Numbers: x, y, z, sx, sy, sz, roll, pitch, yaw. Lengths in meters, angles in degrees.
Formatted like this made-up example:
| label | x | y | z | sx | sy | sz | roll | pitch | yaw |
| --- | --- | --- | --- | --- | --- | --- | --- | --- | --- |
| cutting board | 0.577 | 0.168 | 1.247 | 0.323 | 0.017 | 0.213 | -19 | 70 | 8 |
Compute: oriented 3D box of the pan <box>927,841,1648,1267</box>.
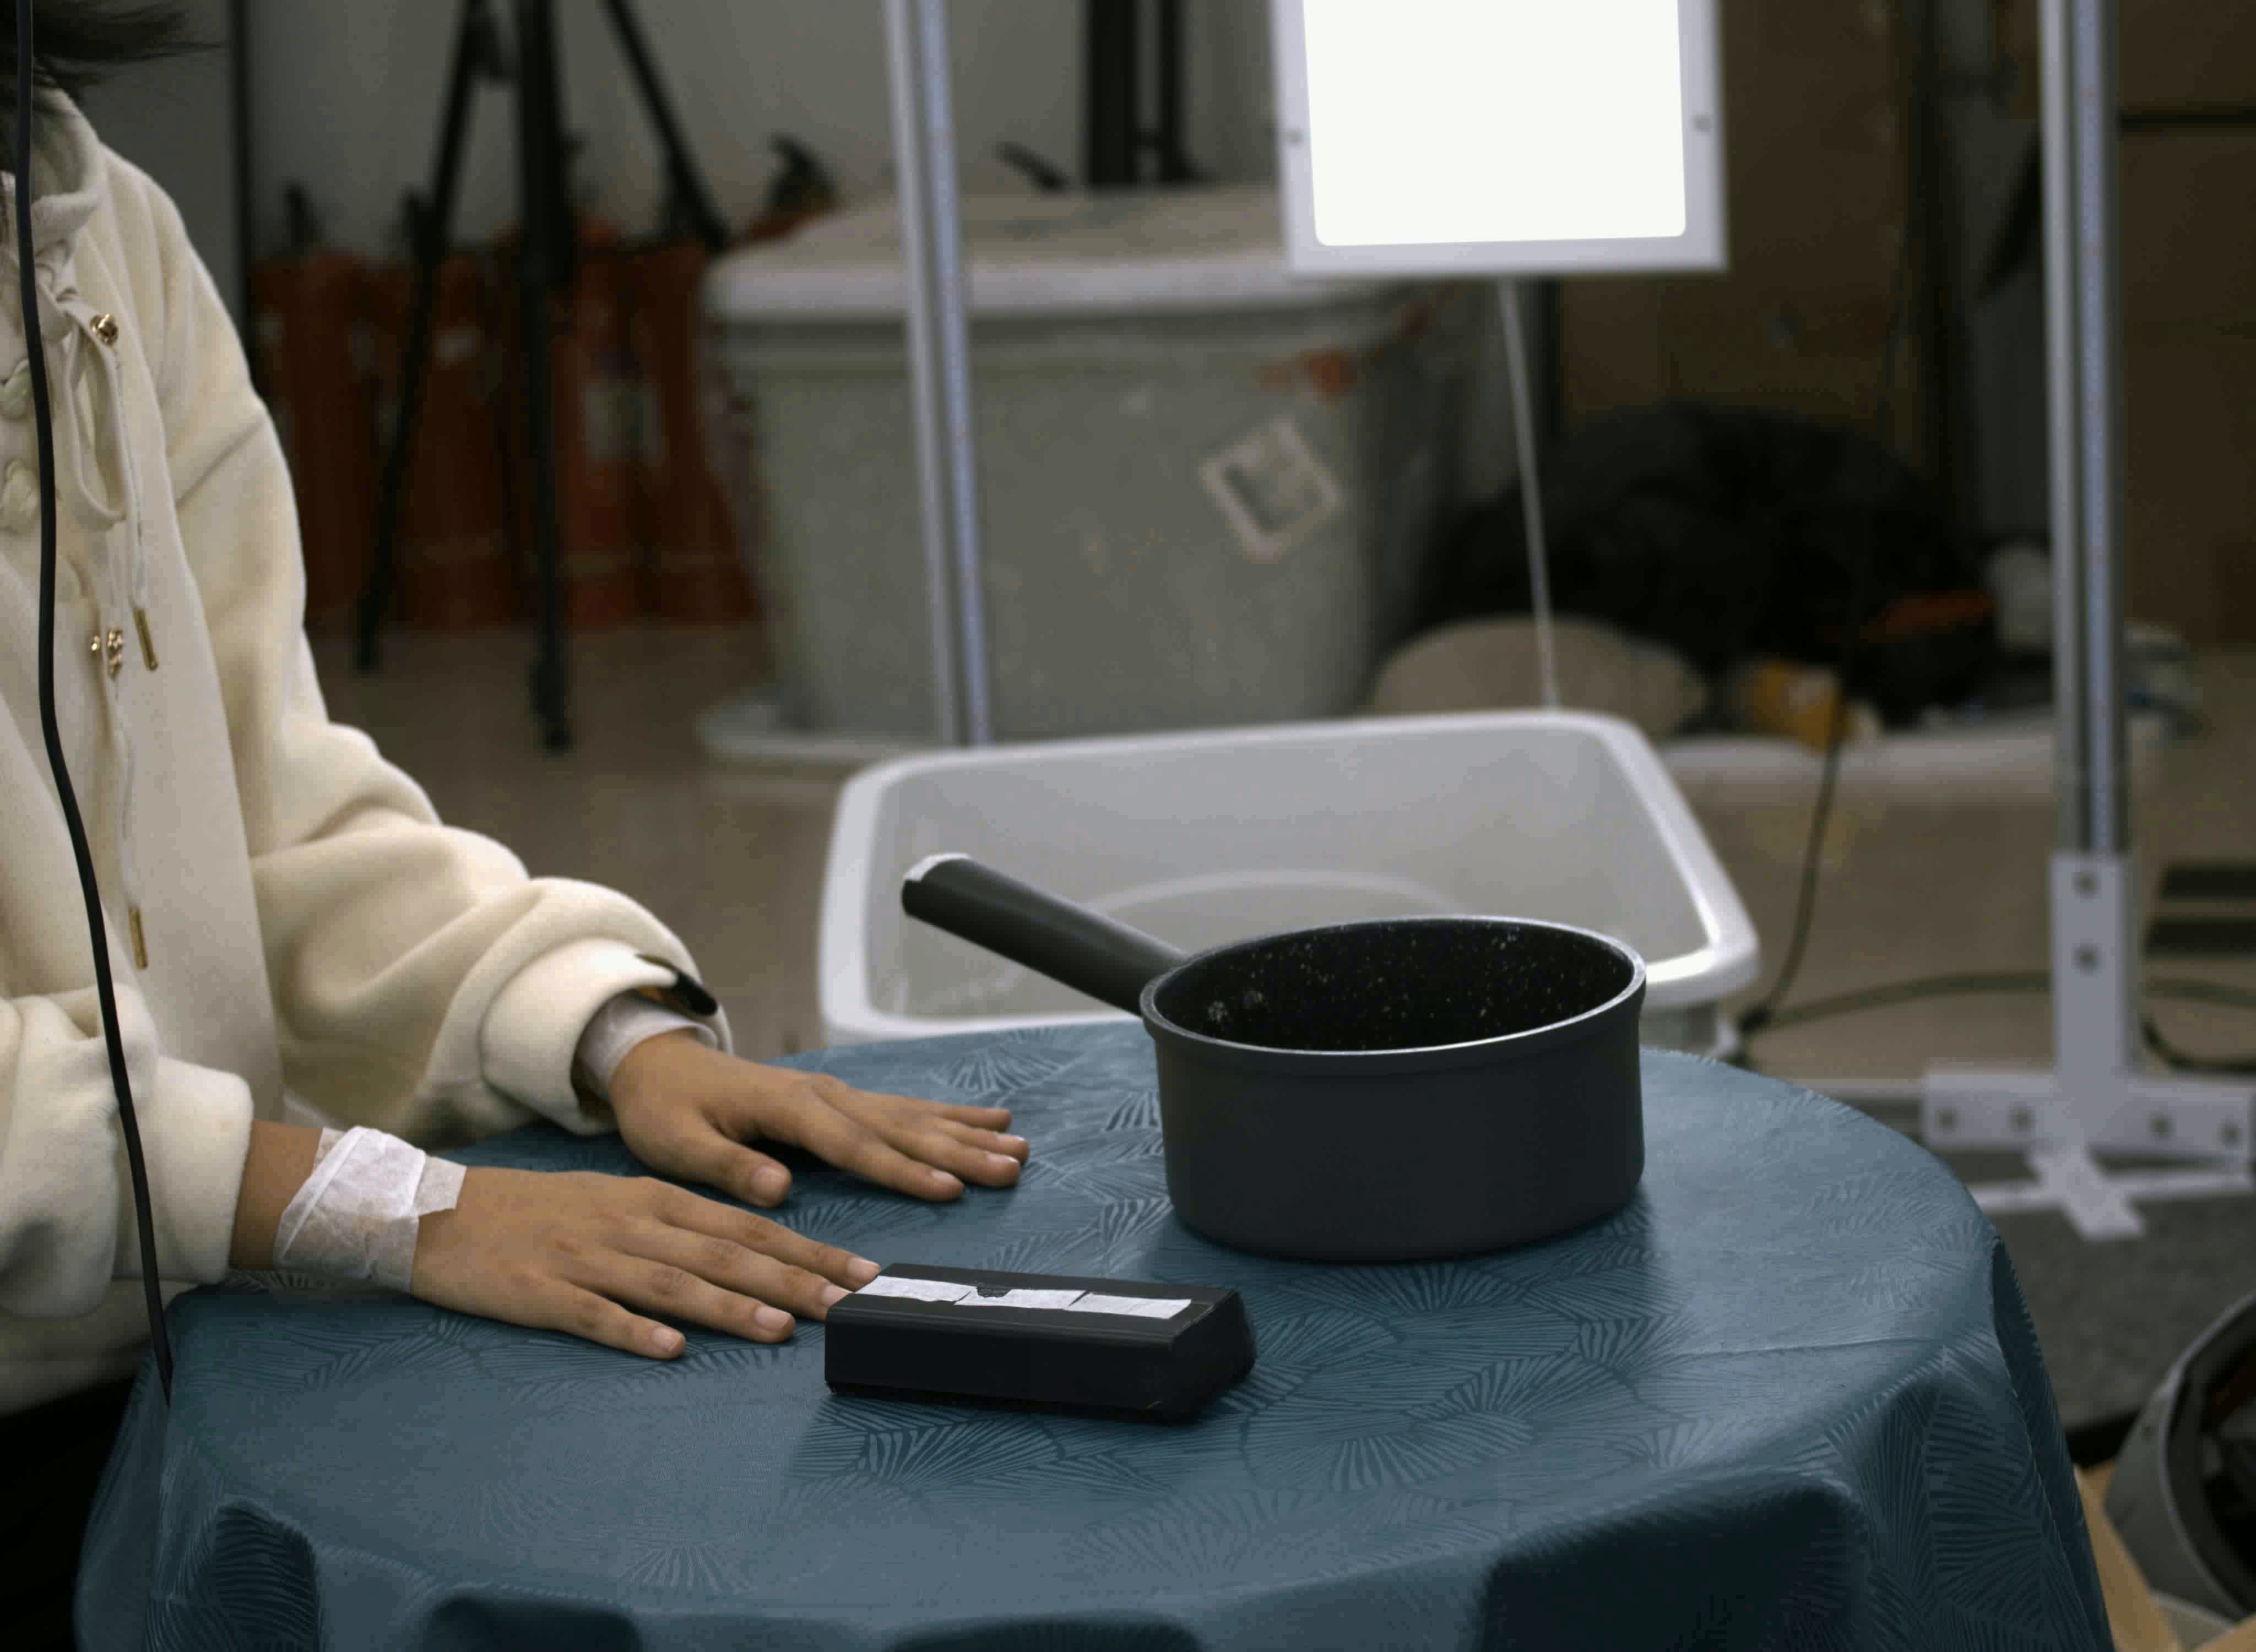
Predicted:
| label | x | y | z | sx | sy | sz | roll | pitch | yaw |
| --- | --- | --- | --- | --- | --- | --- | --- | --- | --- |
| pan | 0.041 | 0.074 | 1.921 | 0.168 | 0.087 | 0.335 | -15 | 18 | -36 |

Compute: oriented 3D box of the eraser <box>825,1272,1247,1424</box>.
| label | x | y | z | sx | sy | sz | roll | pitch | yaw |
| --- | --- | --- | --- | --- | --- | --- | --- | --- | --- |
| eraser | -0.027 | 0.161 | 1.711 | 0.128 | 0.030 | 0.052 | 1 | 14 | 29 |
